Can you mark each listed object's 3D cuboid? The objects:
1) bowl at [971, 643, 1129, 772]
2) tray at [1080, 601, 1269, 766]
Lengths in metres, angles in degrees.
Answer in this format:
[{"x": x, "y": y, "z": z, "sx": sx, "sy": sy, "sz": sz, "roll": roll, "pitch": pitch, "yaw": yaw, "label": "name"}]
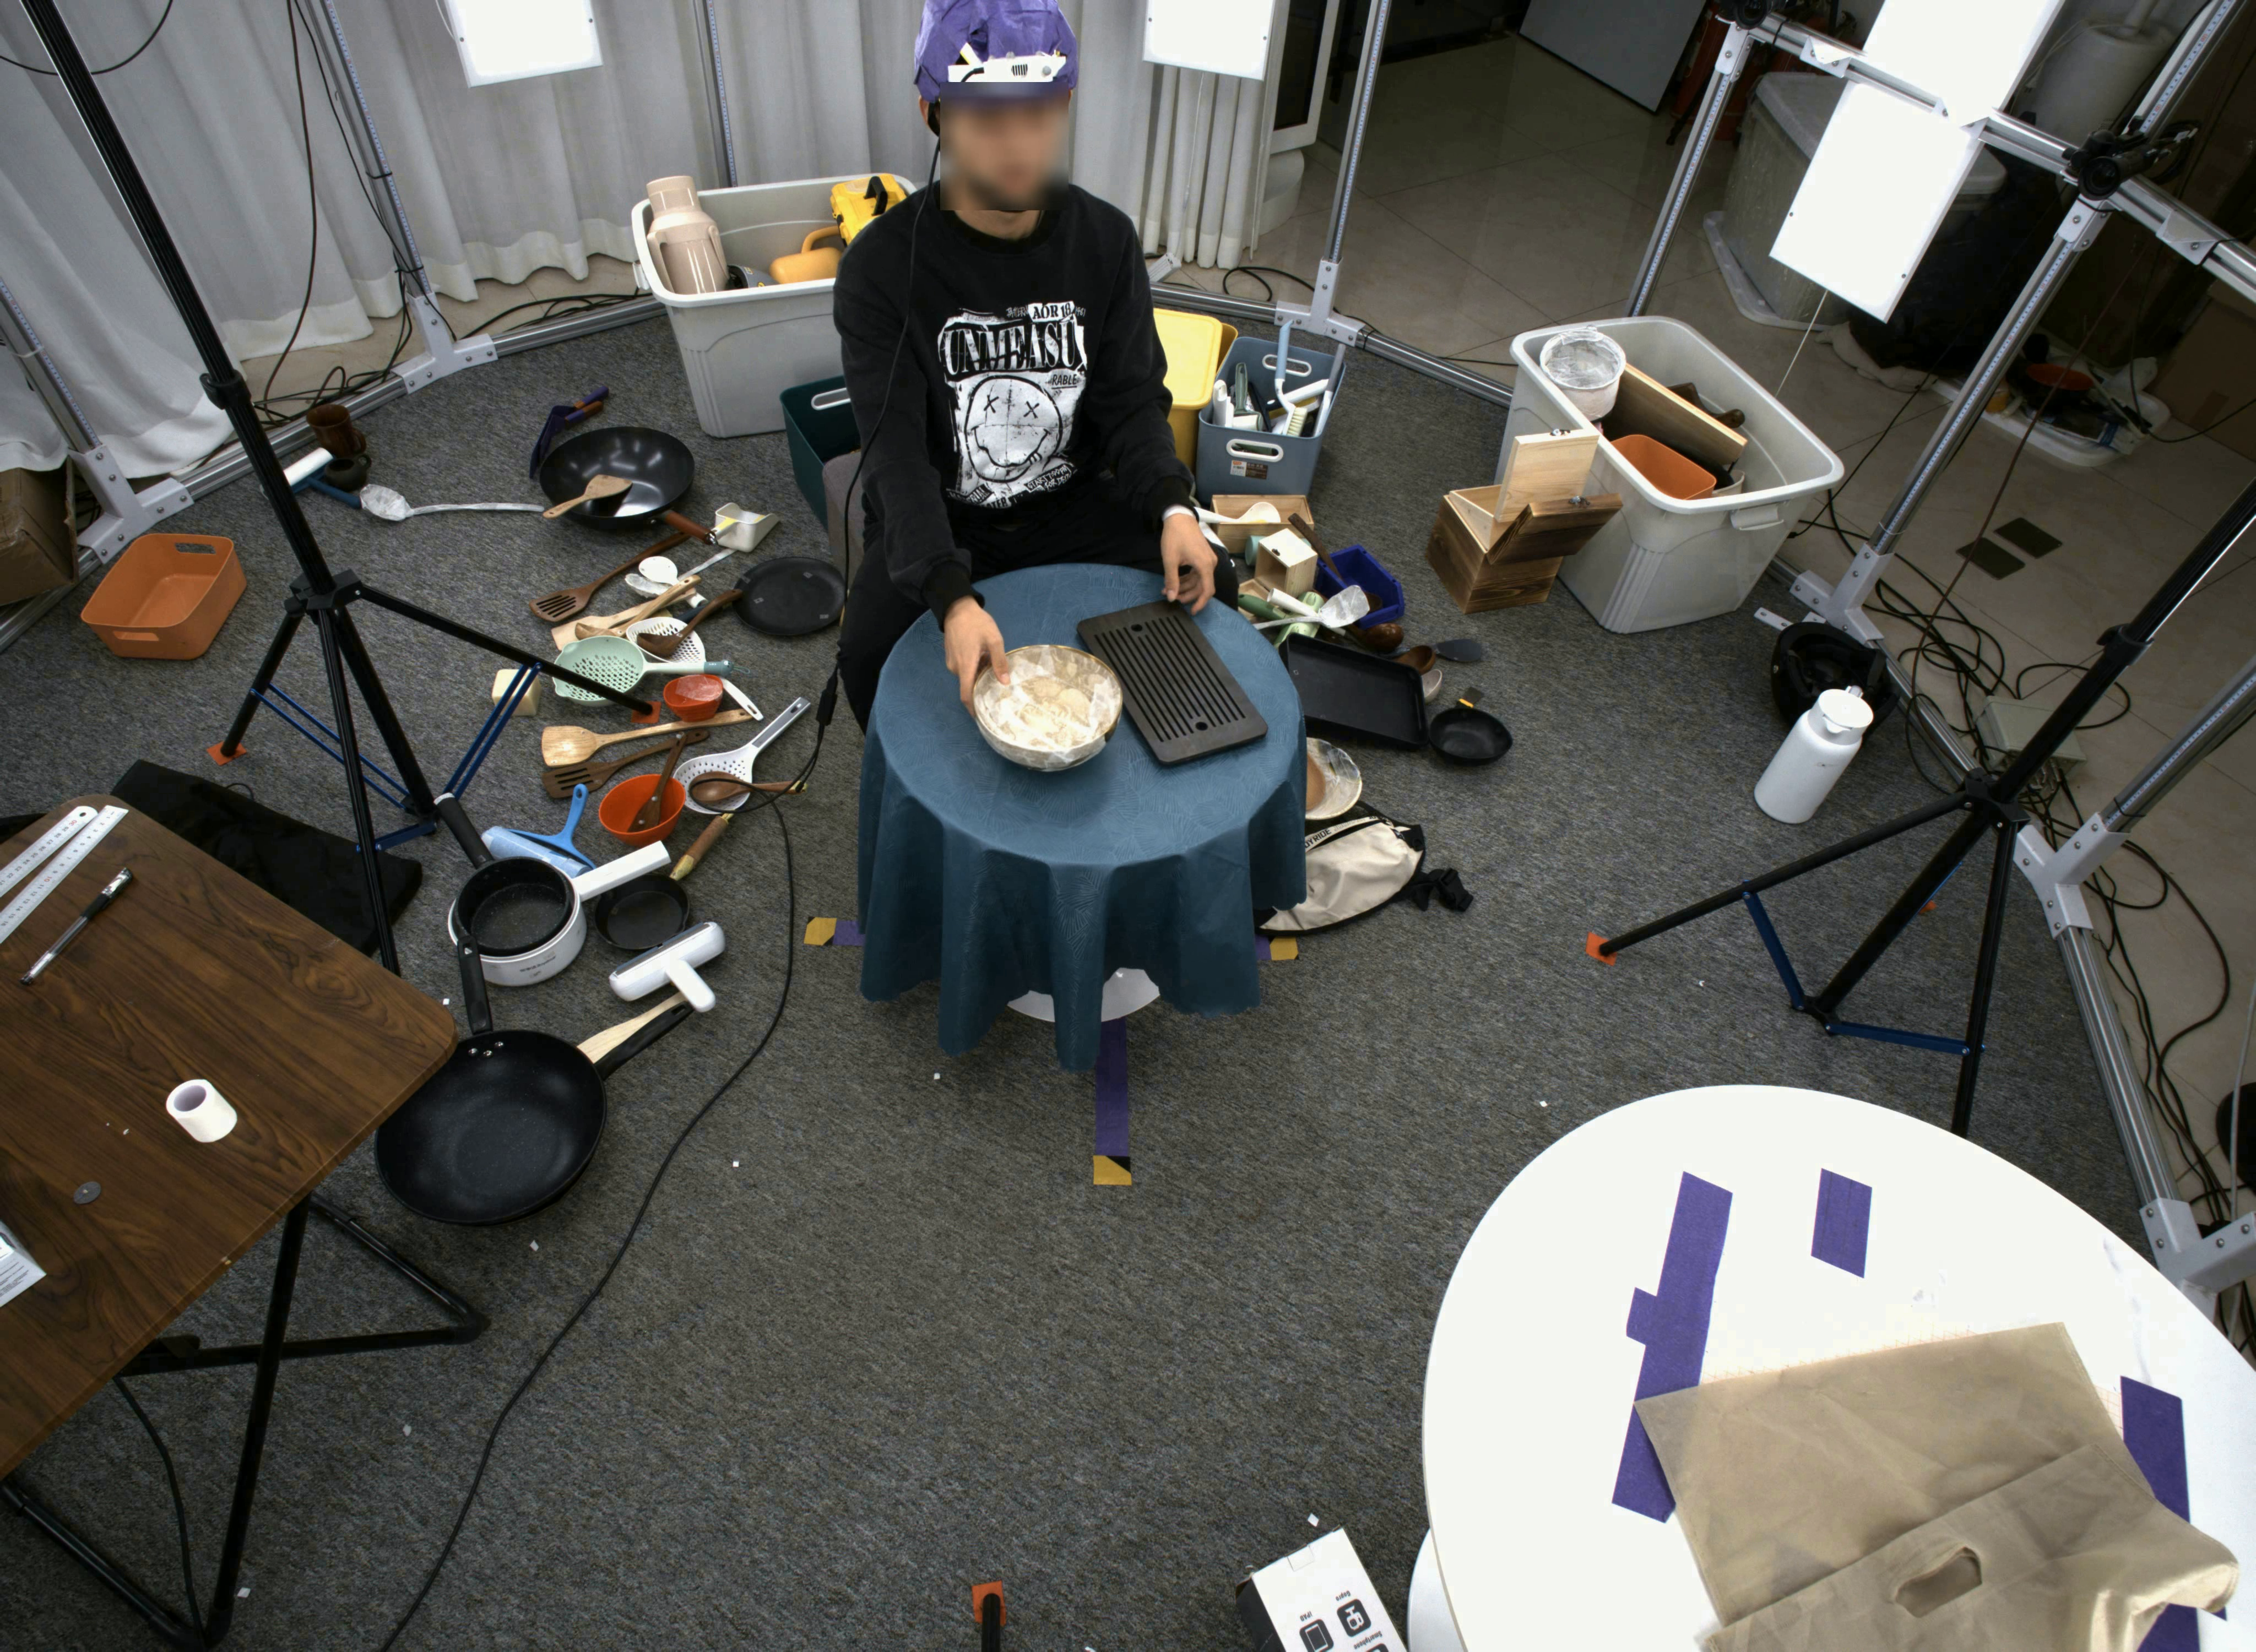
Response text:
[{"x": -0.105, "y": -0.146, "z": 1.745, "sx": 0.214, "sy": 0.092, "sz": 0.220, "roll": 1, "pitch": 49, "yaw": -1, "label": "bowl"}, {"x": 0.063, "y": -0.211, "z": 1.861, "sx": 0.170, "sy": 0.018, "sz": 0.313, "roll": -17, "pitch": 52, "yaw": -18, "label": "tray"}]
